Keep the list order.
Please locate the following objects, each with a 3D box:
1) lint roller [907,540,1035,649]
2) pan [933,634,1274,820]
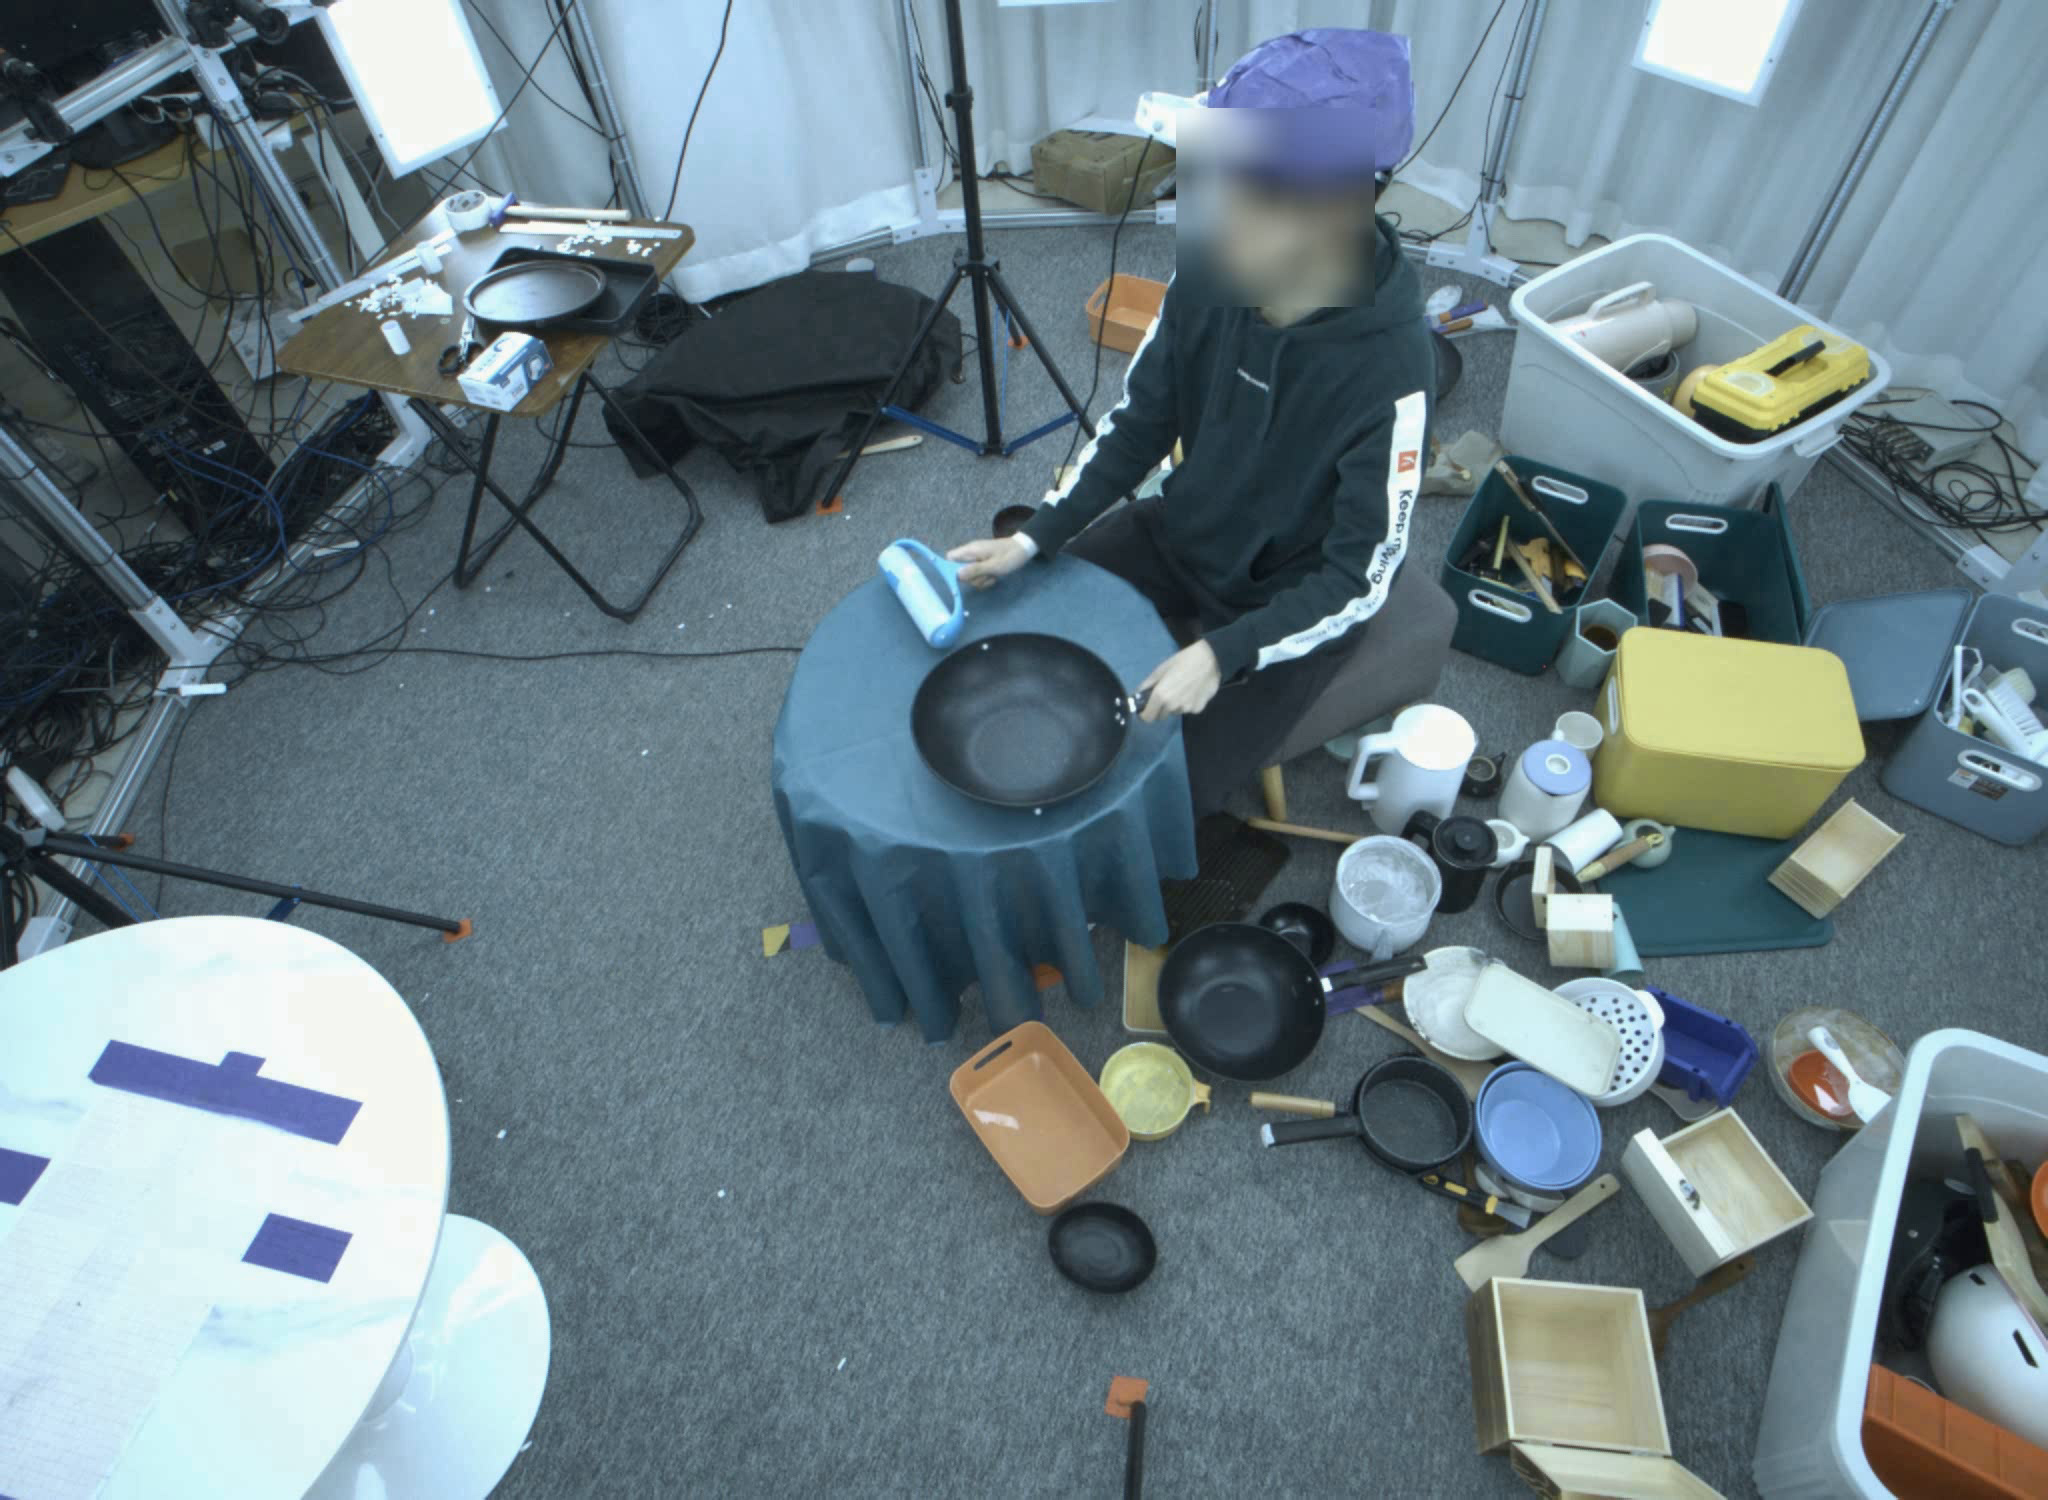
[{"bbox_3d":[-0.068,-0.263,1.915,0.182,0.069,0.224,-26,55,-16],"label":"lint roller"},{"bbox_3d":[0.111,-0.034,1.738,0.479,0.112,0.306,-6,57,-5],"label":"pan"}]
